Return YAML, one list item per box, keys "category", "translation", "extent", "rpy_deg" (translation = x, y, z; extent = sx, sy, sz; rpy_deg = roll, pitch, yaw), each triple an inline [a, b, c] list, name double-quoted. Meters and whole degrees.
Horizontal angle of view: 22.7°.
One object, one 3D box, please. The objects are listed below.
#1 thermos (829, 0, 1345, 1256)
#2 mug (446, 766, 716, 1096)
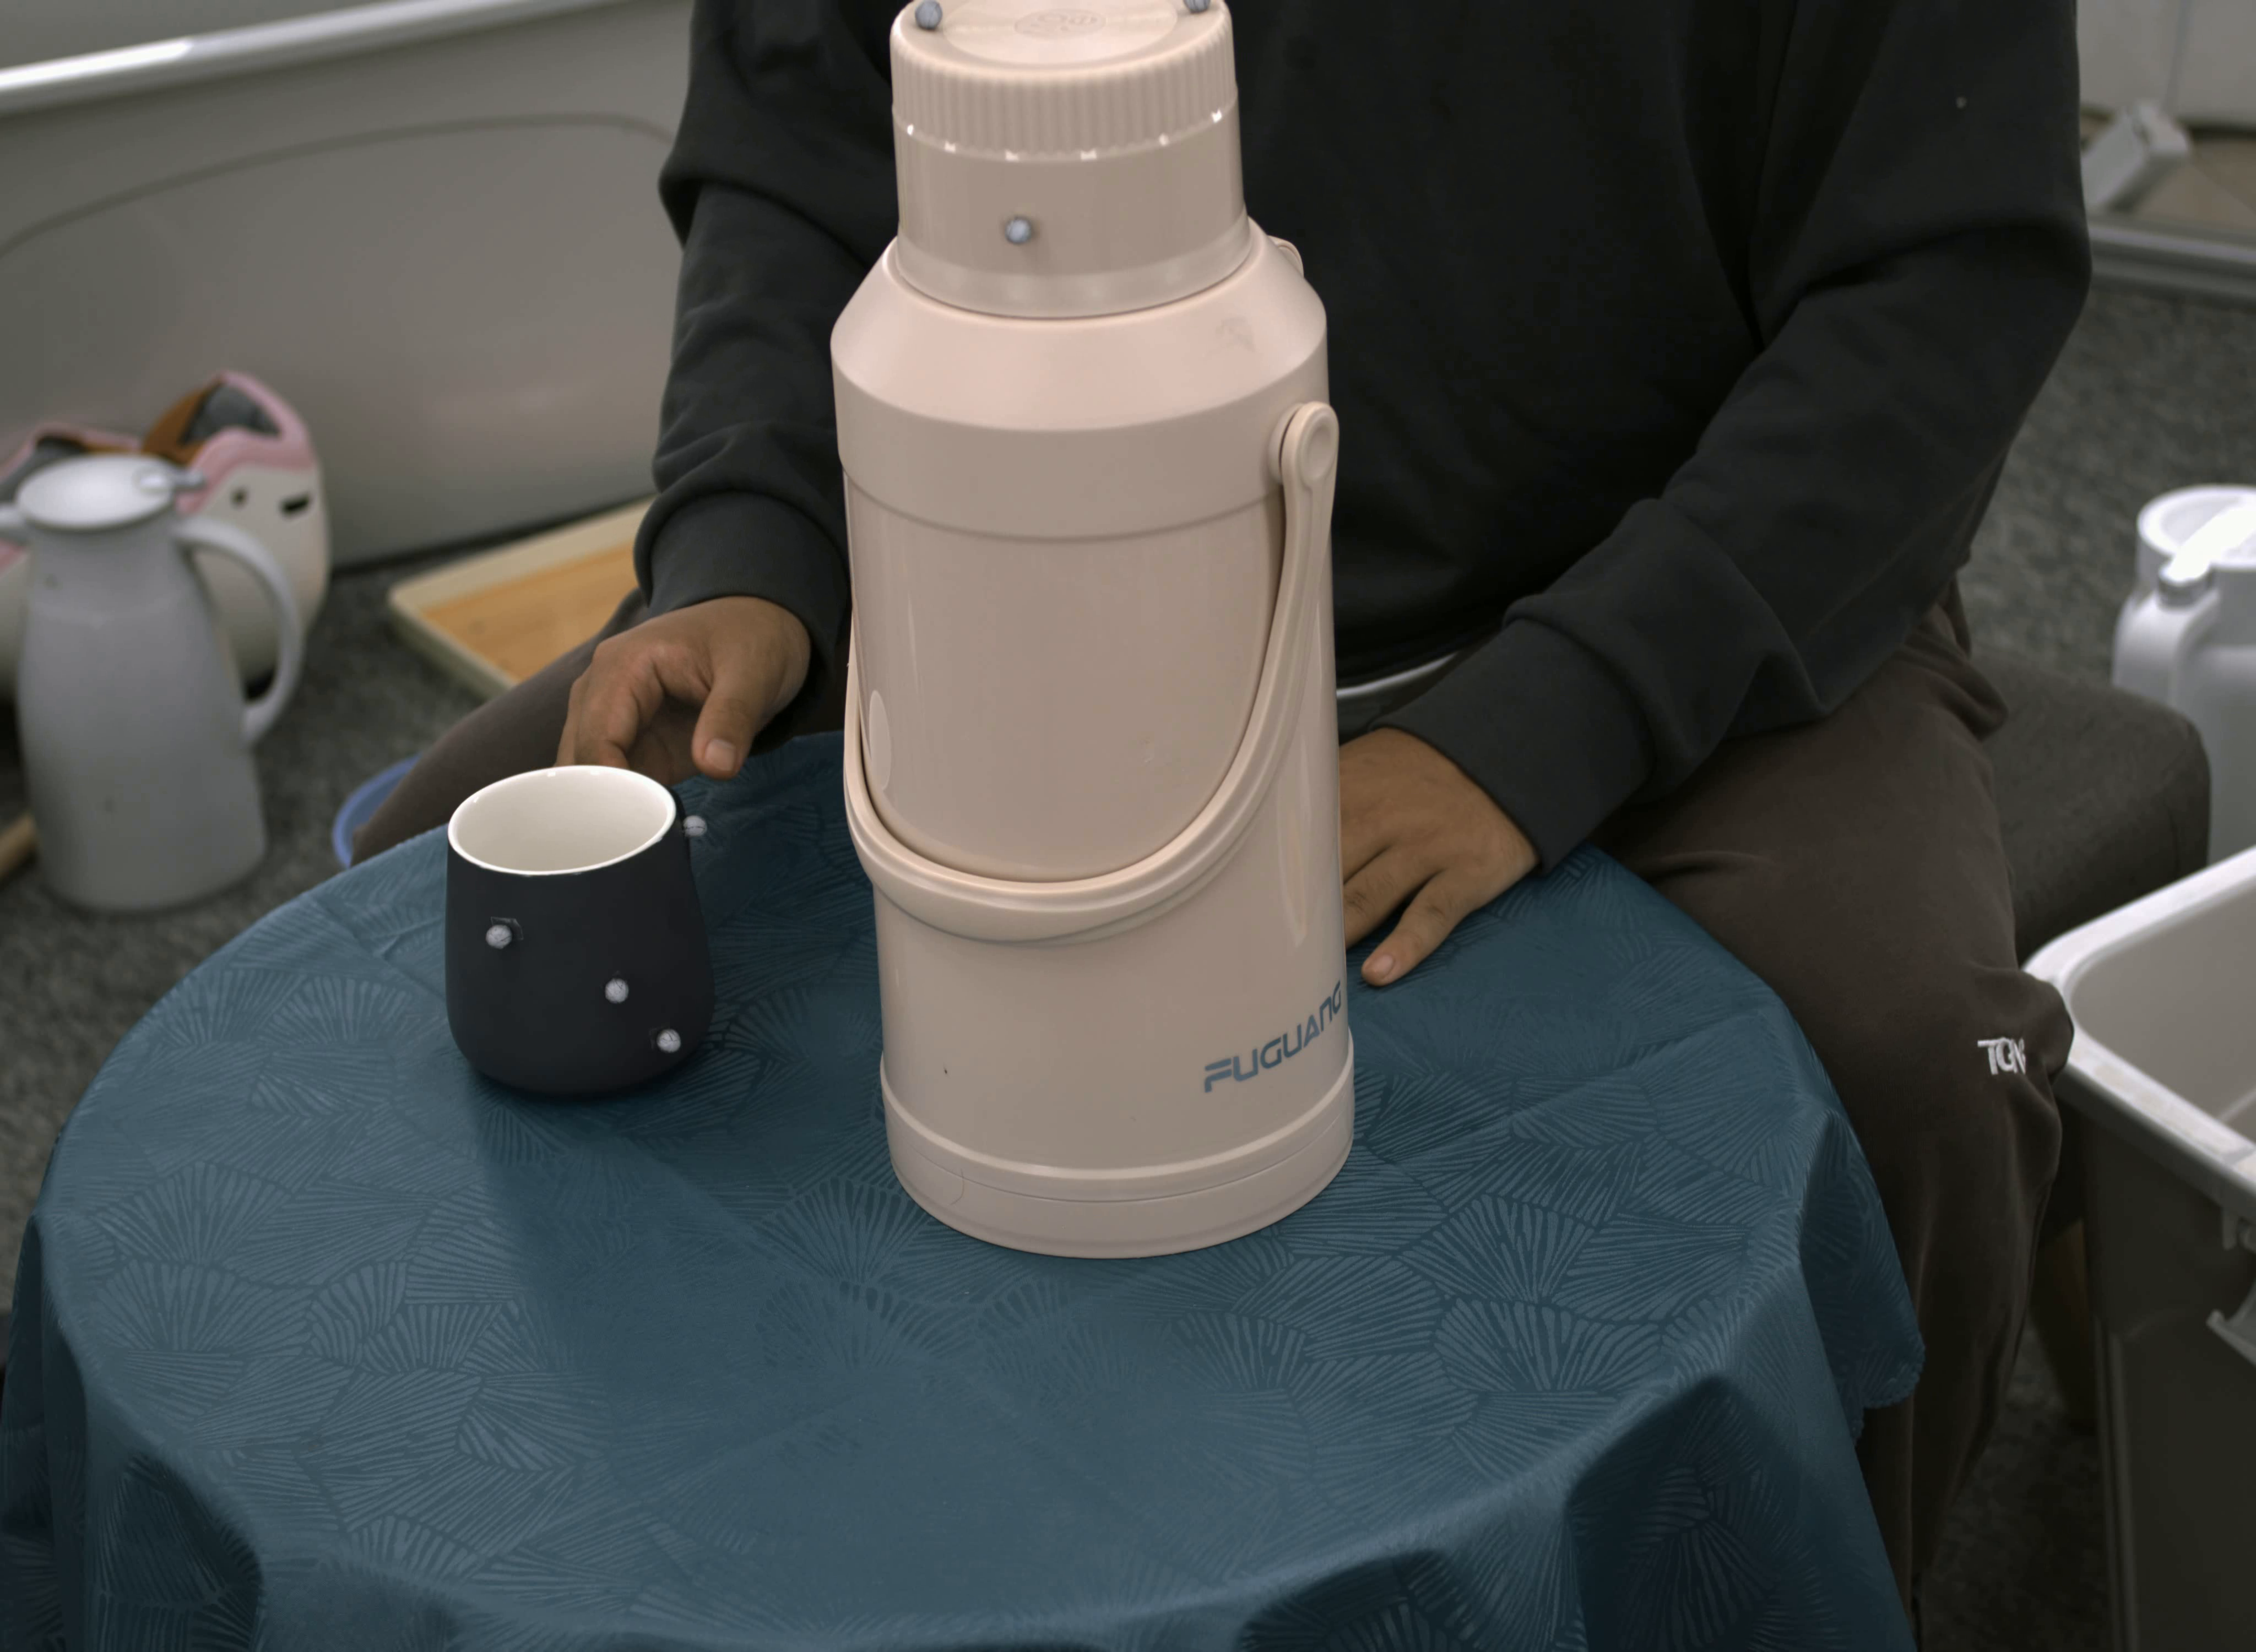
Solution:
- category: "thermos"
  translation: [-0.004, -0.077, 1.823]
  extent: [0.174, 0.402, 0.210]
  rpy_deg: [13, 31, 30]
- category: "mug"
  translation: [-0.185, 0.031, 1.959]
  extent: [0.093, 0.089, 0.125]
  rpy_deg: [10, 30, 23]
